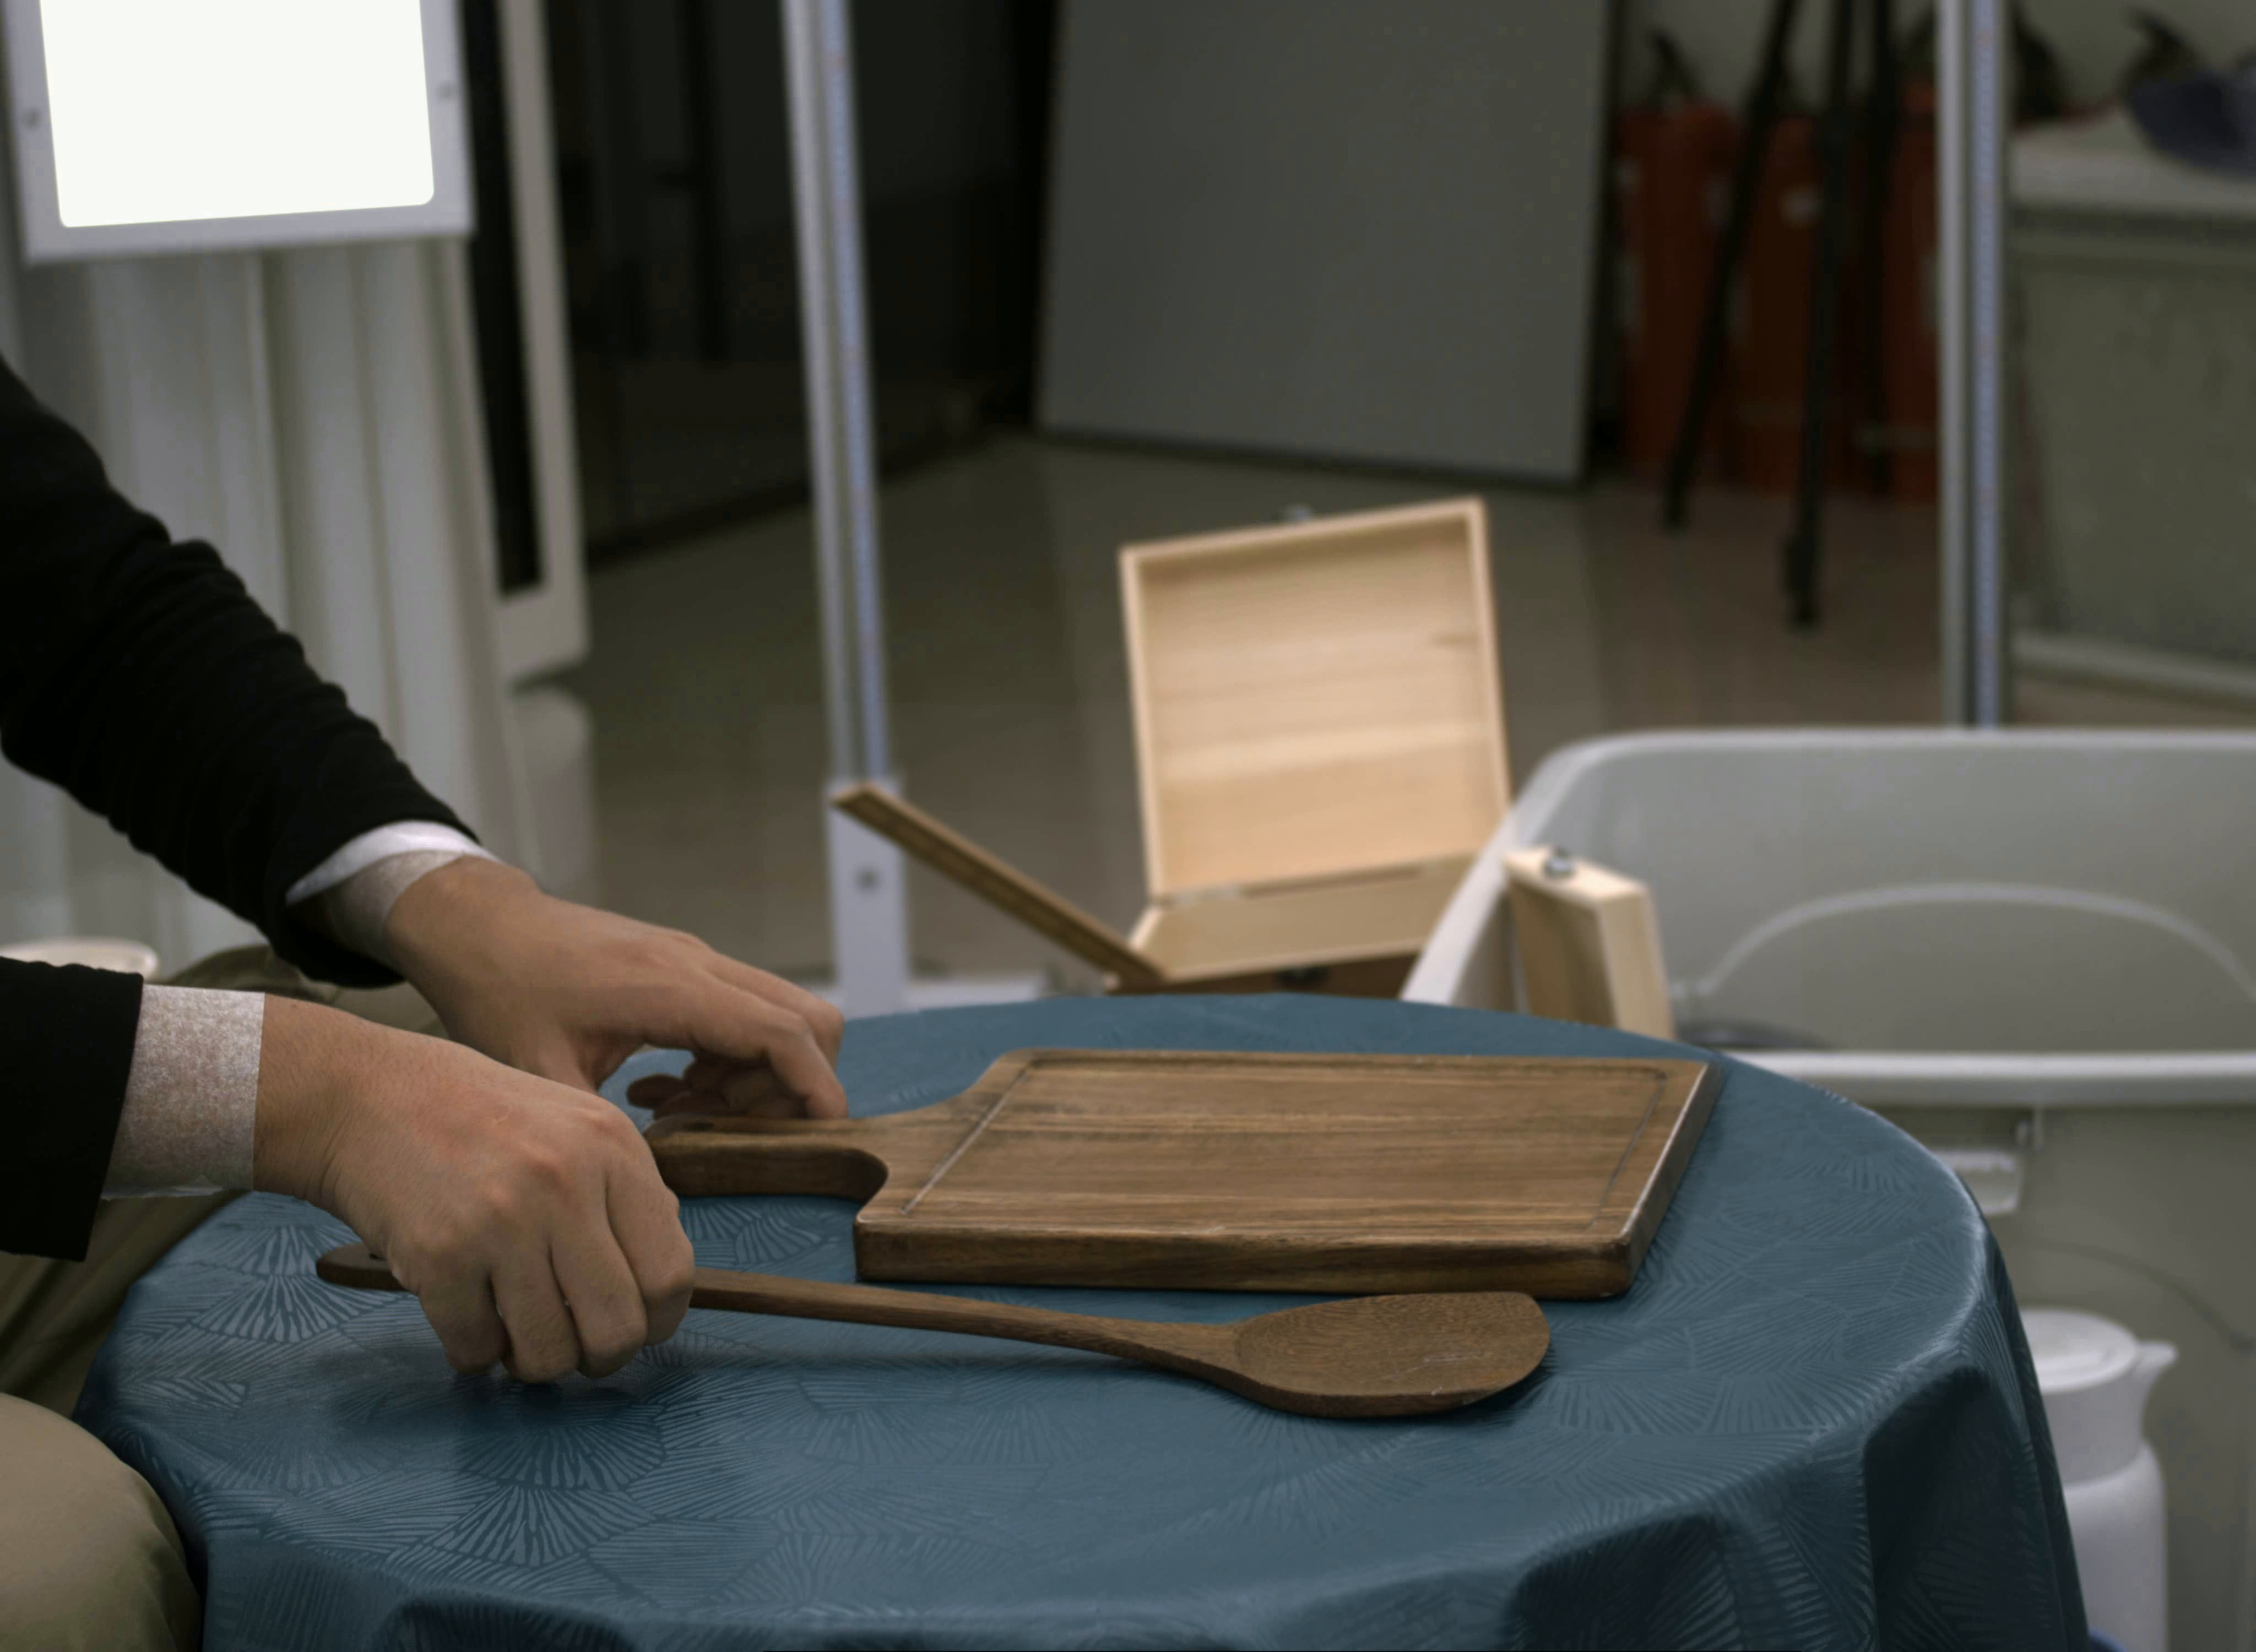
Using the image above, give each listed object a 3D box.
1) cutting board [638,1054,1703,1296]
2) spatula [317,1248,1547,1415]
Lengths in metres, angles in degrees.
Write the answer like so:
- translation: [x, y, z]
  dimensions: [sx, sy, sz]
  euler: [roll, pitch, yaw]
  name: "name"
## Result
- translation: [0.007, 0.111, 1.766]
  dimensions: [0.350, 0.023, 0.199]
  euler: [0, 14, 15]
  name: "cutting board"
- translation: [-0.063, 0.147, 1.621]
  dimensions: [0.384, 0.016, 0.095]
  euler: [3, 14, 14]
  name: "spatula"
